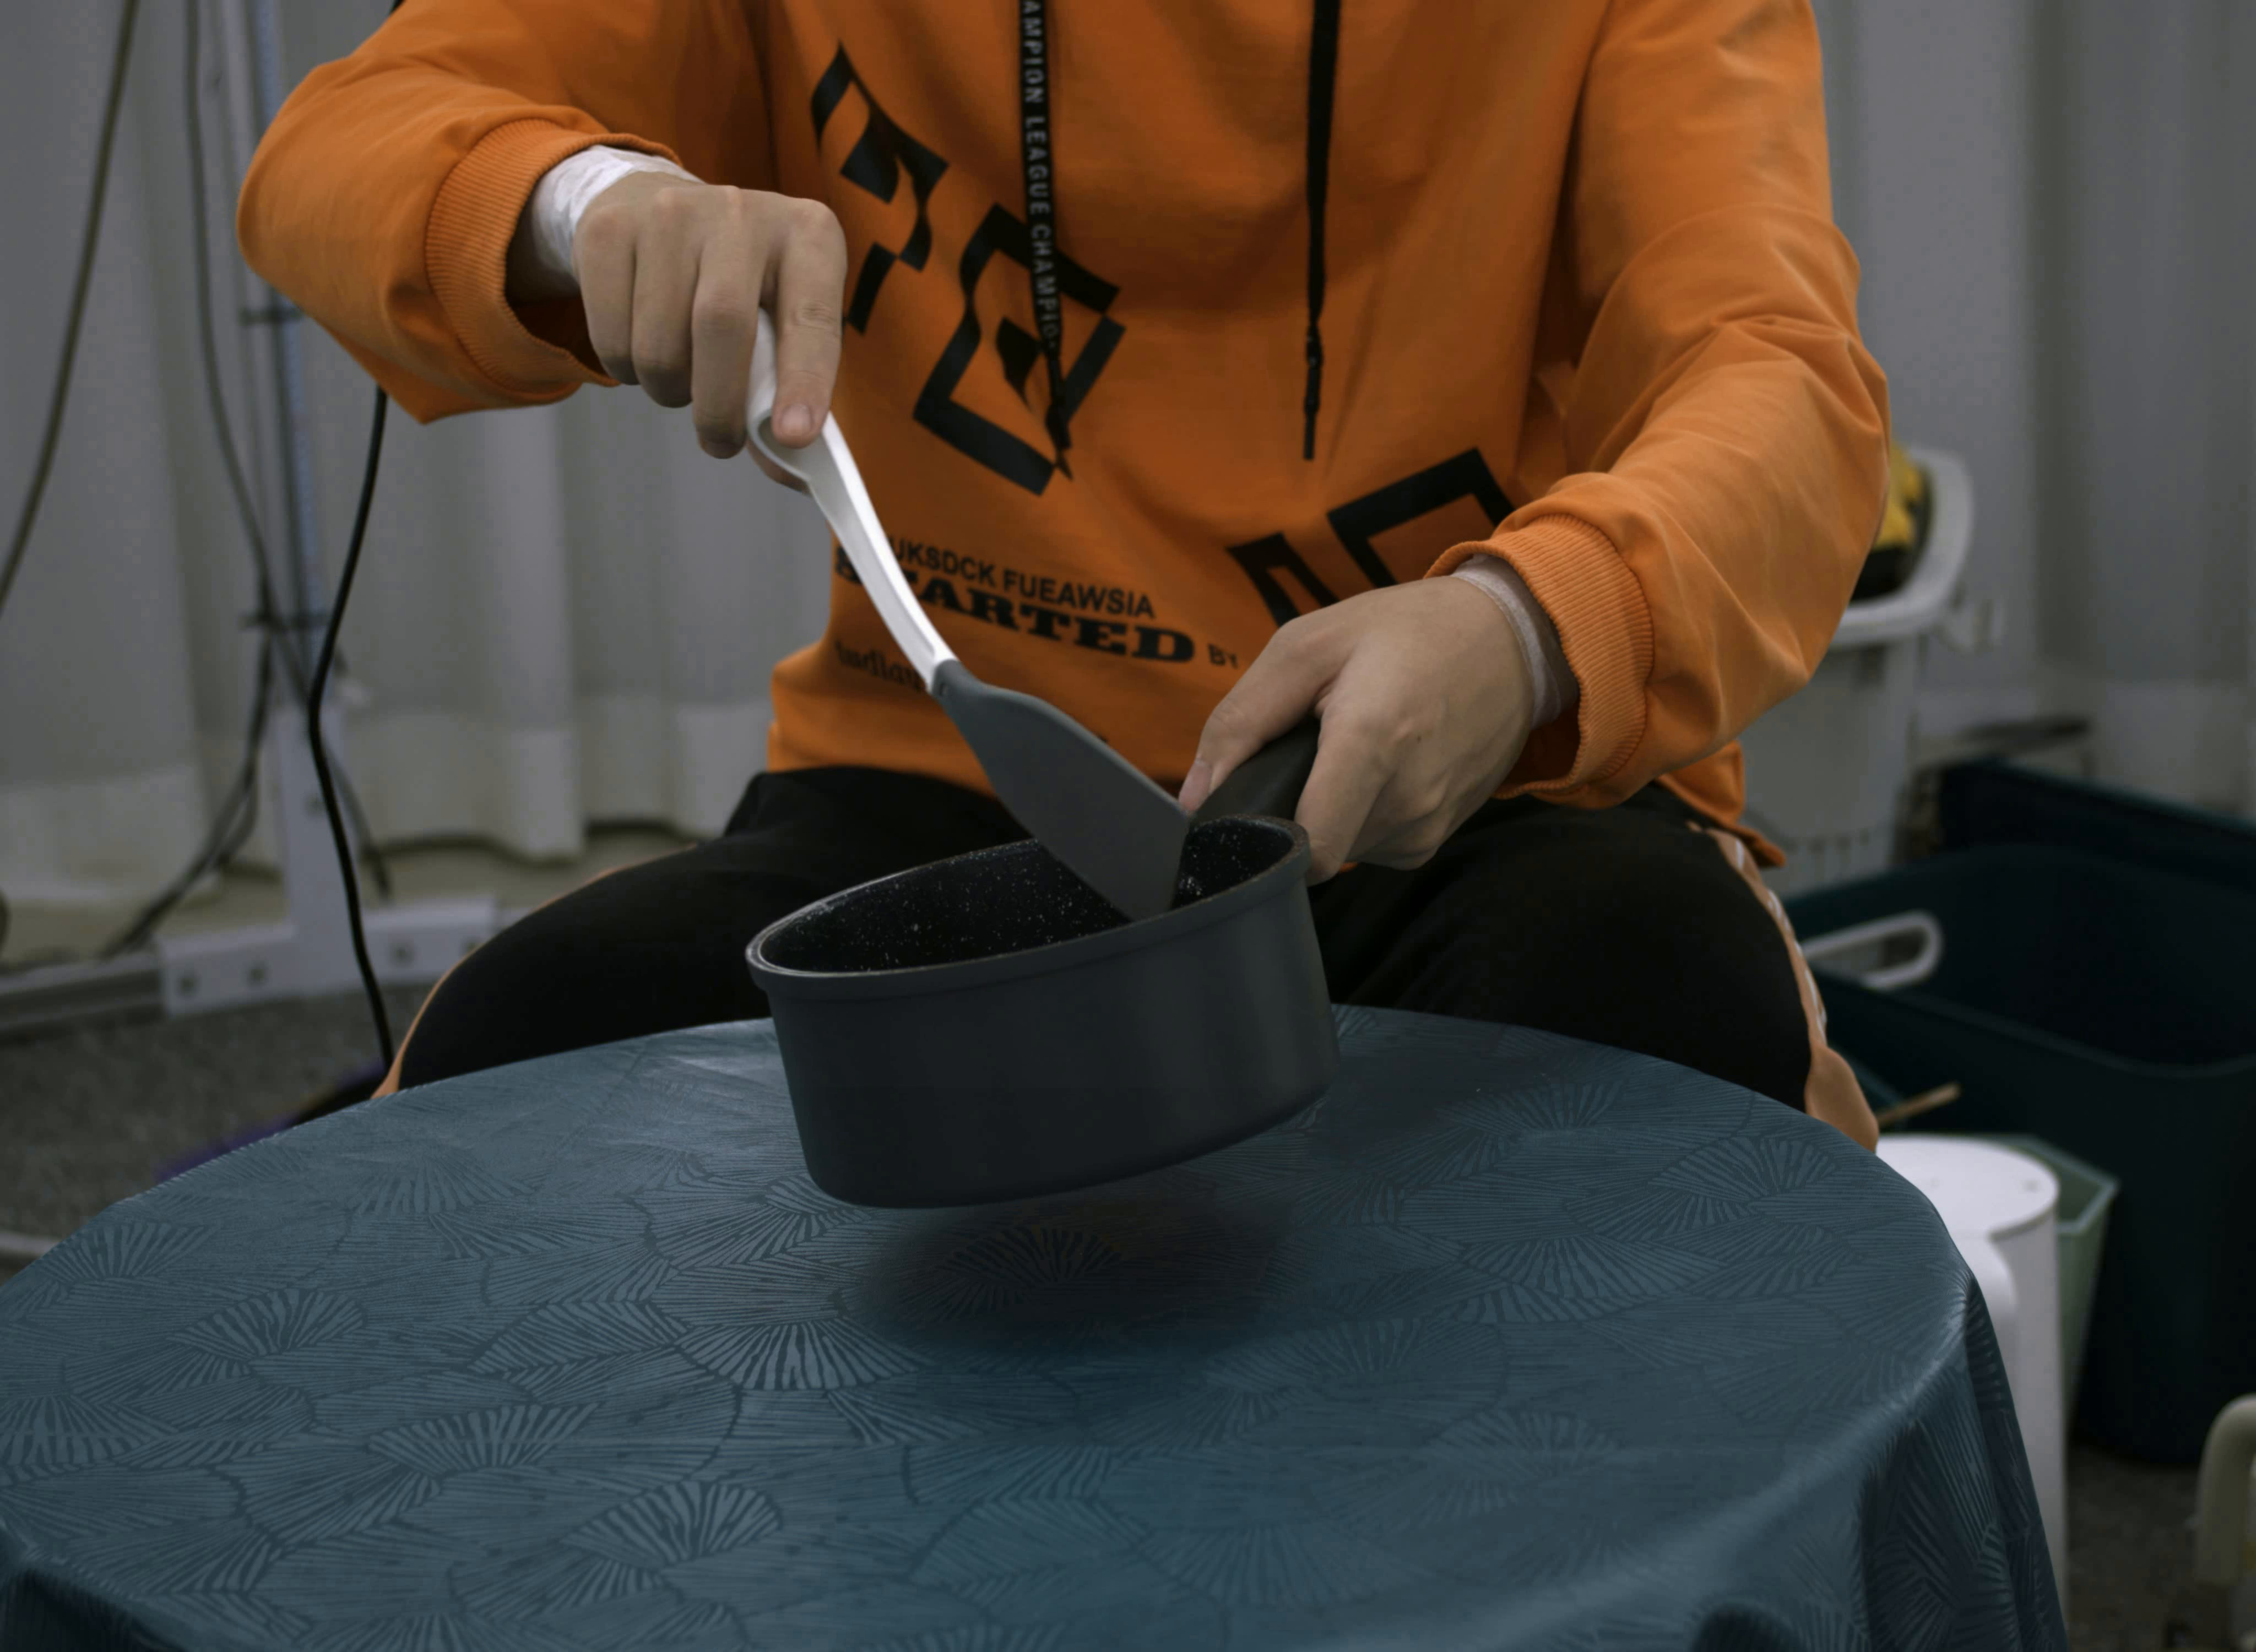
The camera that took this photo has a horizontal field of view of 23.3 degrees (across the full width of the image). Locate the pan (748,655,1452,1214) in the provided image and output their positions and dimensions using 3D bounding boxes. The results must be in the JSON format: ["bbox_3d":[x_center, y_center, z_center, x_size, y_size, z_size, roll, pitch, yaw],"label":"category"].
[{"bbox_3d":[0.017,0.031,1.692,0.172,0.086,0.329,-4,14,32],"label":"pan"}]

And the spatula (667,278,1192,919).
[{"bbox_3d":[-0.065,-0.072,1.703,0.032,0.058,0.291,-11,46,-33],"label":"spatula"}]
